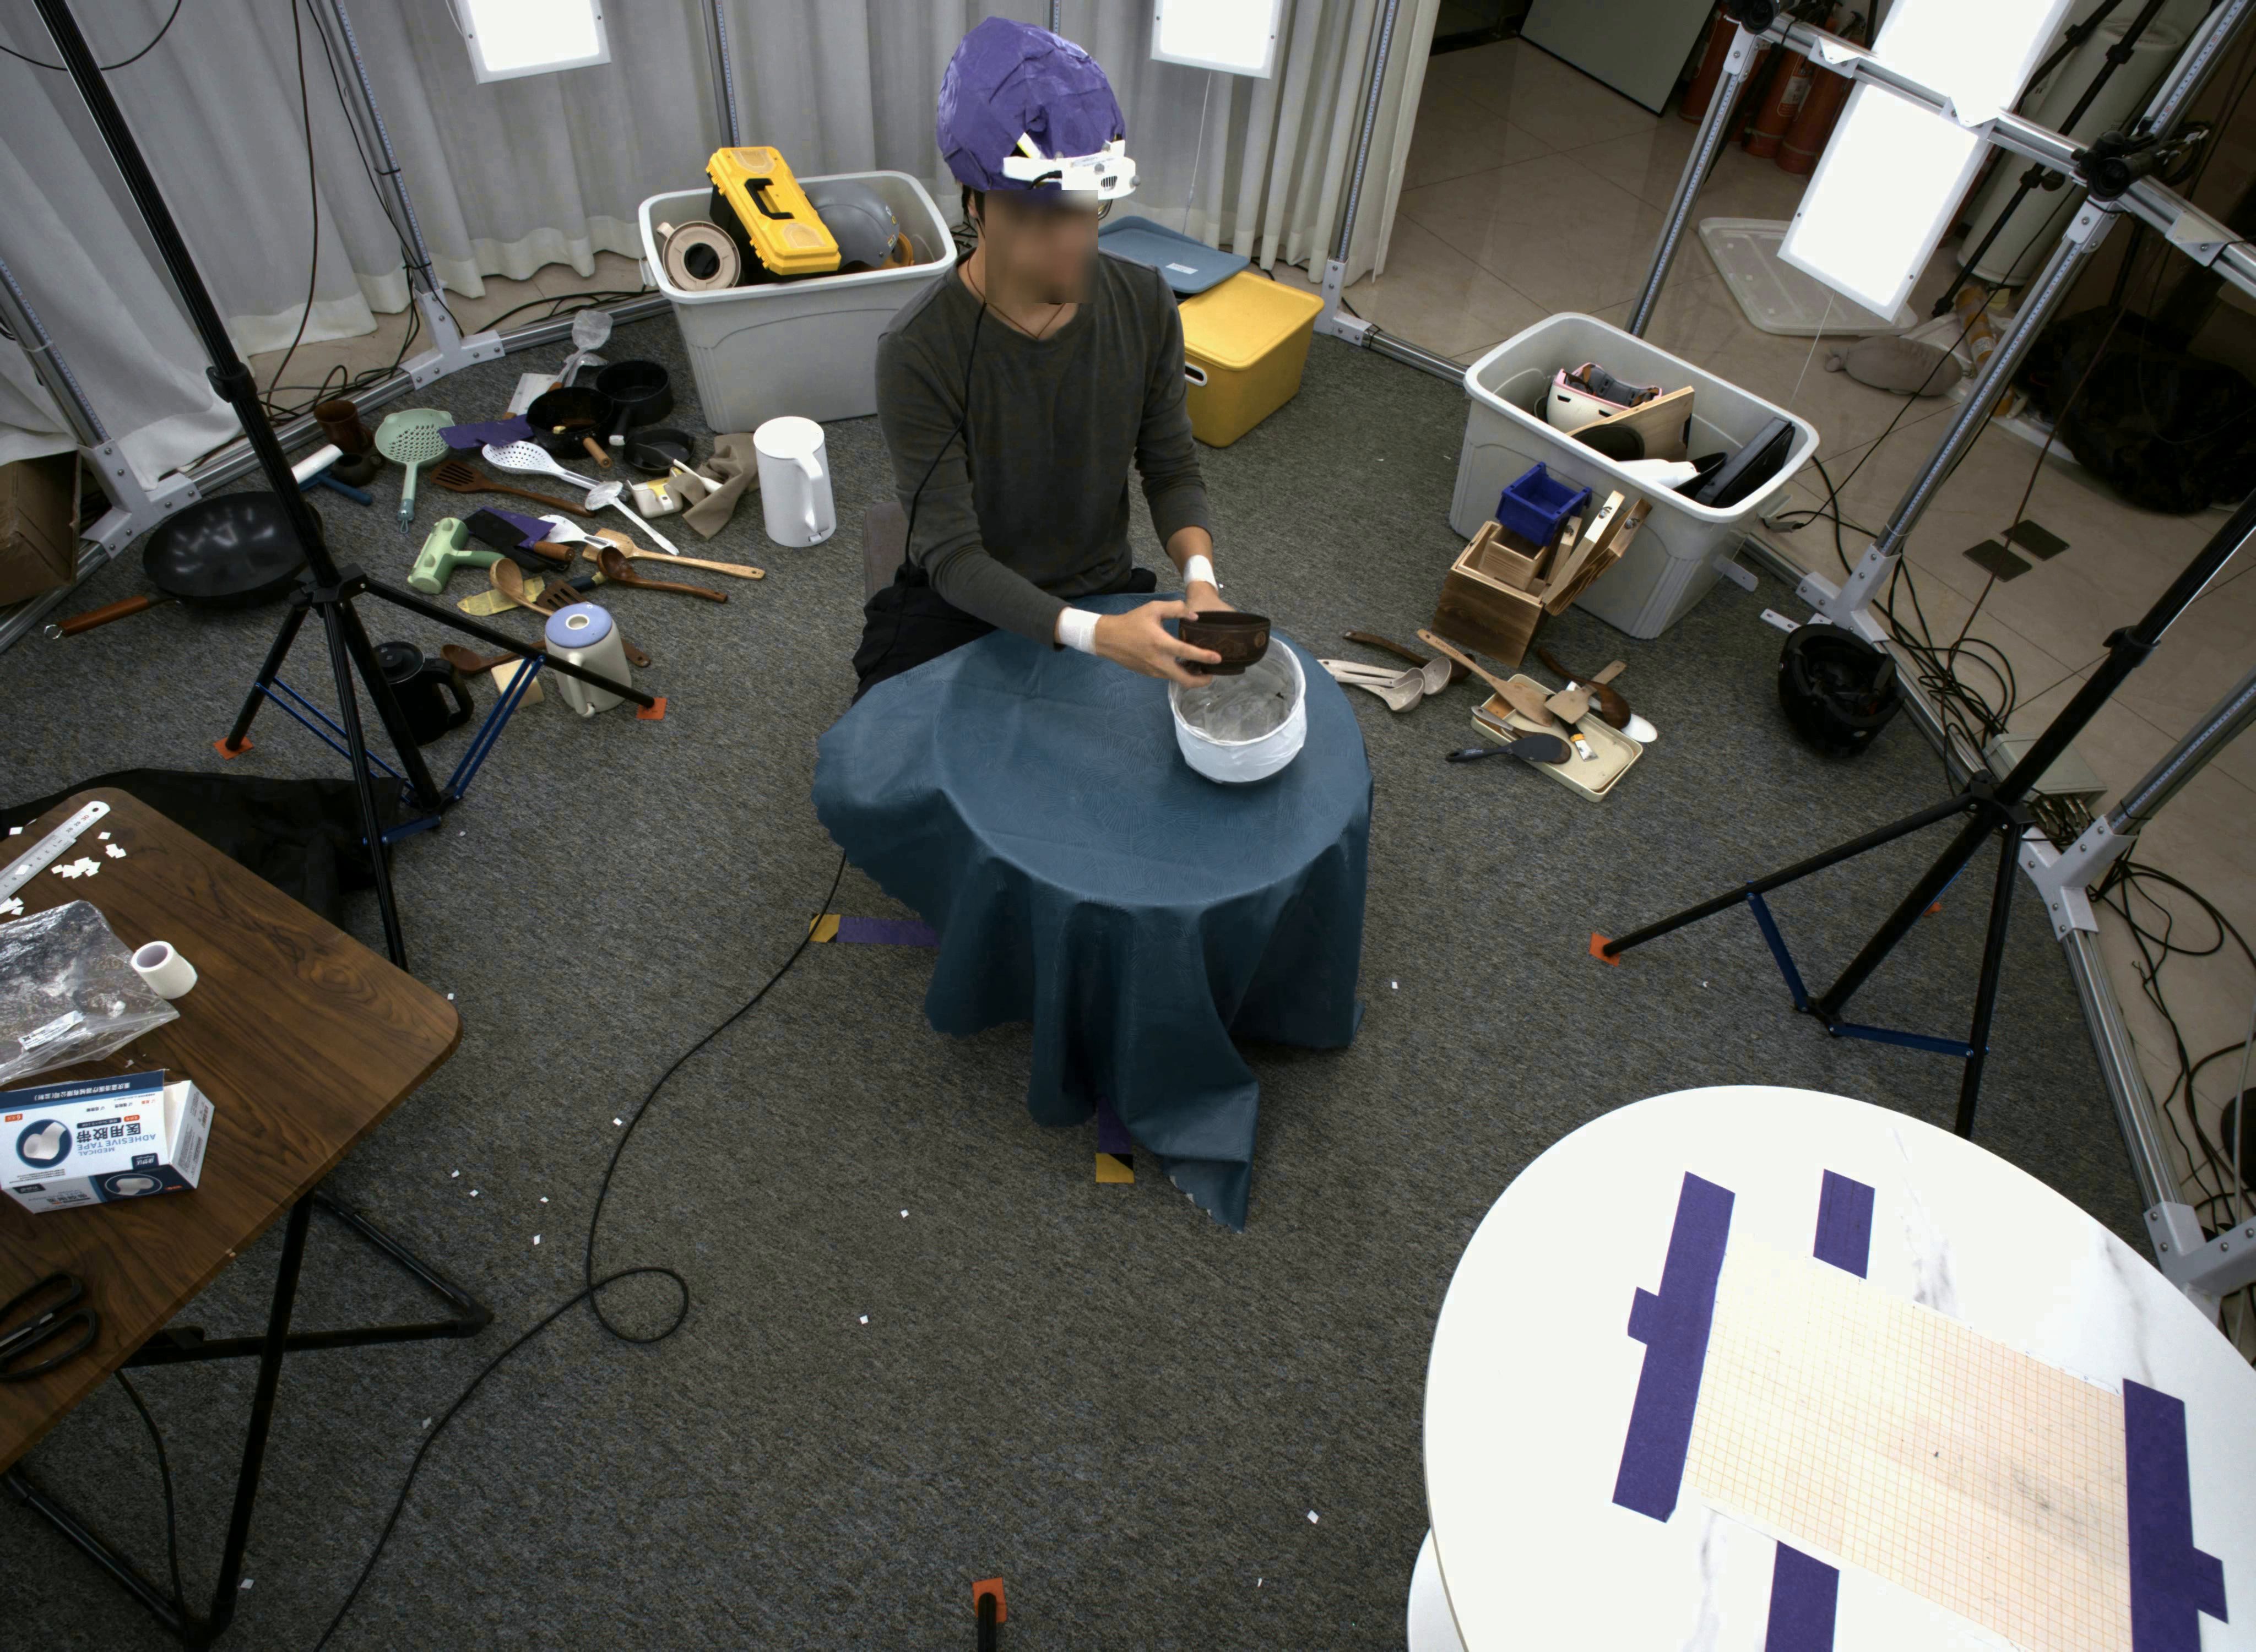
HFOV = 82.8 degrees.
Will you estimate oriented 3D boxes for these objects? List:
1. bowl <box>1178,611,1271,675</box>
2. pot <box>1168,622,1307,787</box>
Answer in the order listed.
[{"bbox_3d":[0.122,-0.231,1.627,0.118,0.069,0.119,0,16,0],"label":"bowl"},{"bbox_3d":[0.140,-0.174,1.710,0.178,0.134,0.239,-17,61,-1],"label":"pot"}]
